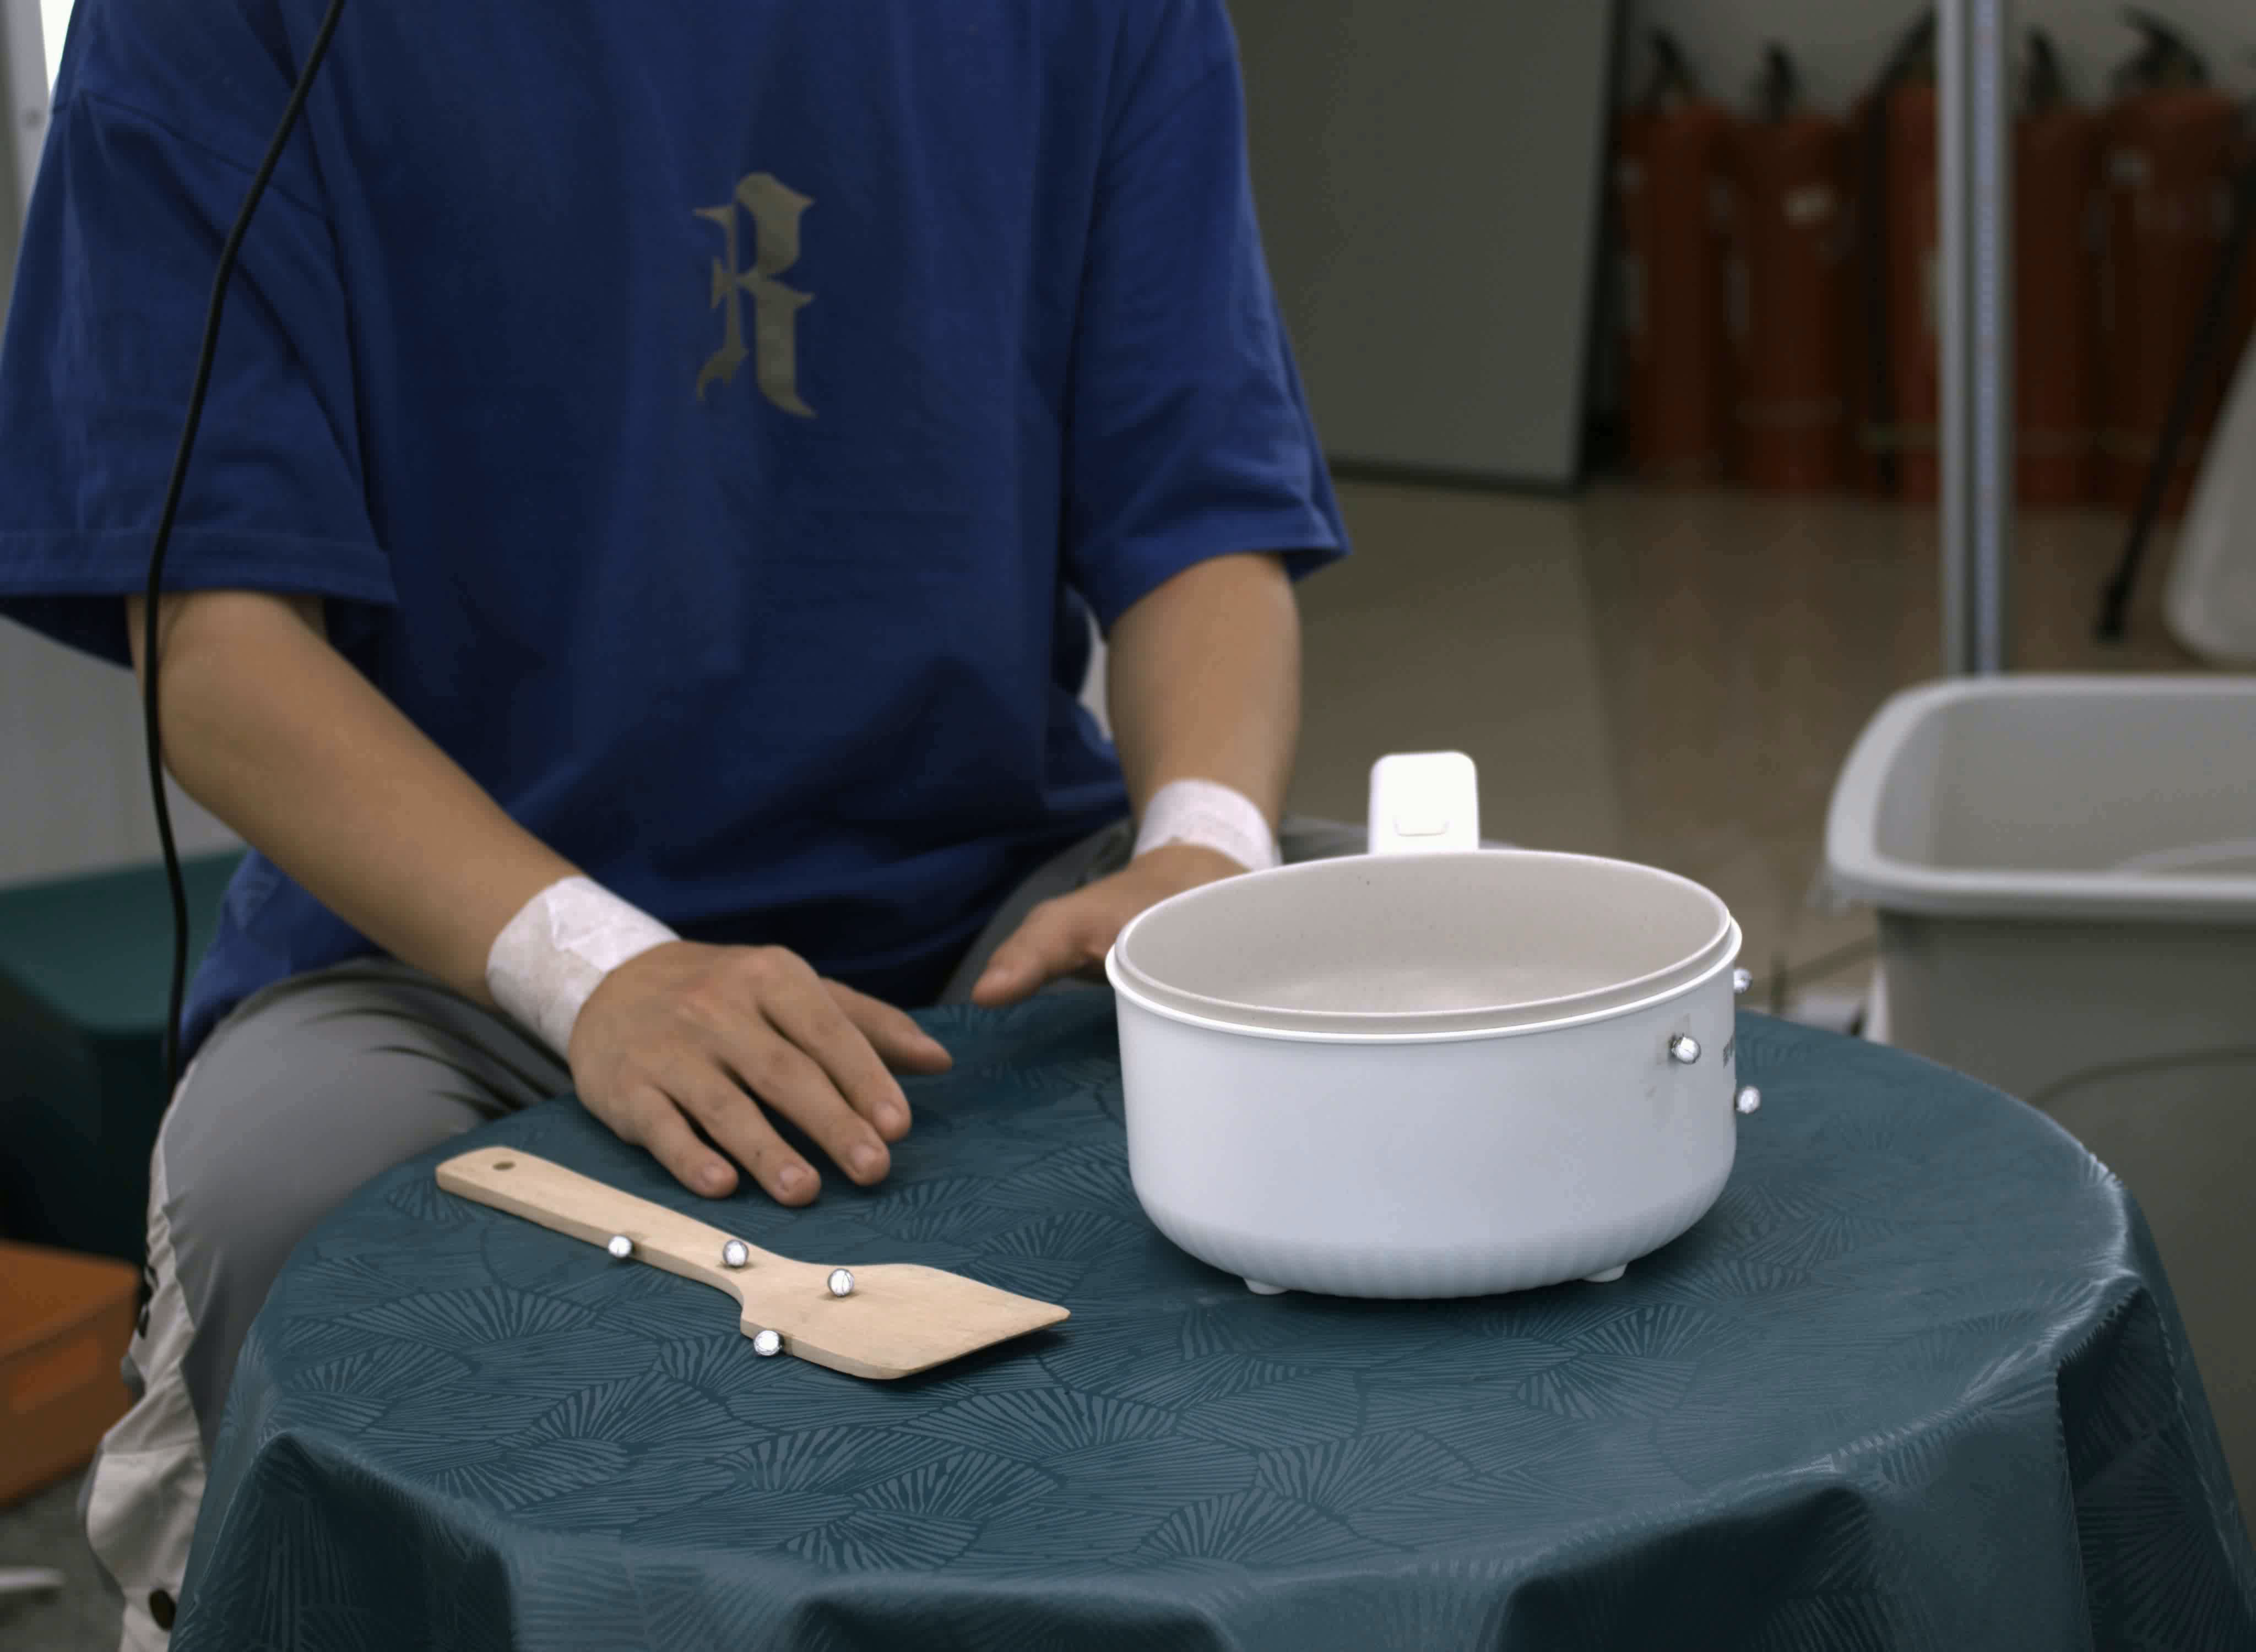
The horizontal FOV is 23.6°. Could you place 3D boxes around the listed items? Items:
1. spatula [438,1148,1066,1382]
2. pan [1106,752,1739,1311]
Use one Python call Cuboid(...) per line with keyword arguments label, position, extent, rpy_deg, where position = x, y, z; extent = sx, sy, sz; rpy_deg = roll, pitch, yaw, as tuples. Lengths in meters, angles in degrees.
Cuboid(label="spatula", position=(-0.135, 0.137, 1.726), extent=(0.071, 0.011, 0.296), rpy_deg=(-16, 18, -36))
Cuboid(label="pan", position=(0.099, 0.063, 1.775), extent=(0.199, 0.103, 0.354), rpy_deg=(-5, 14, 4))
